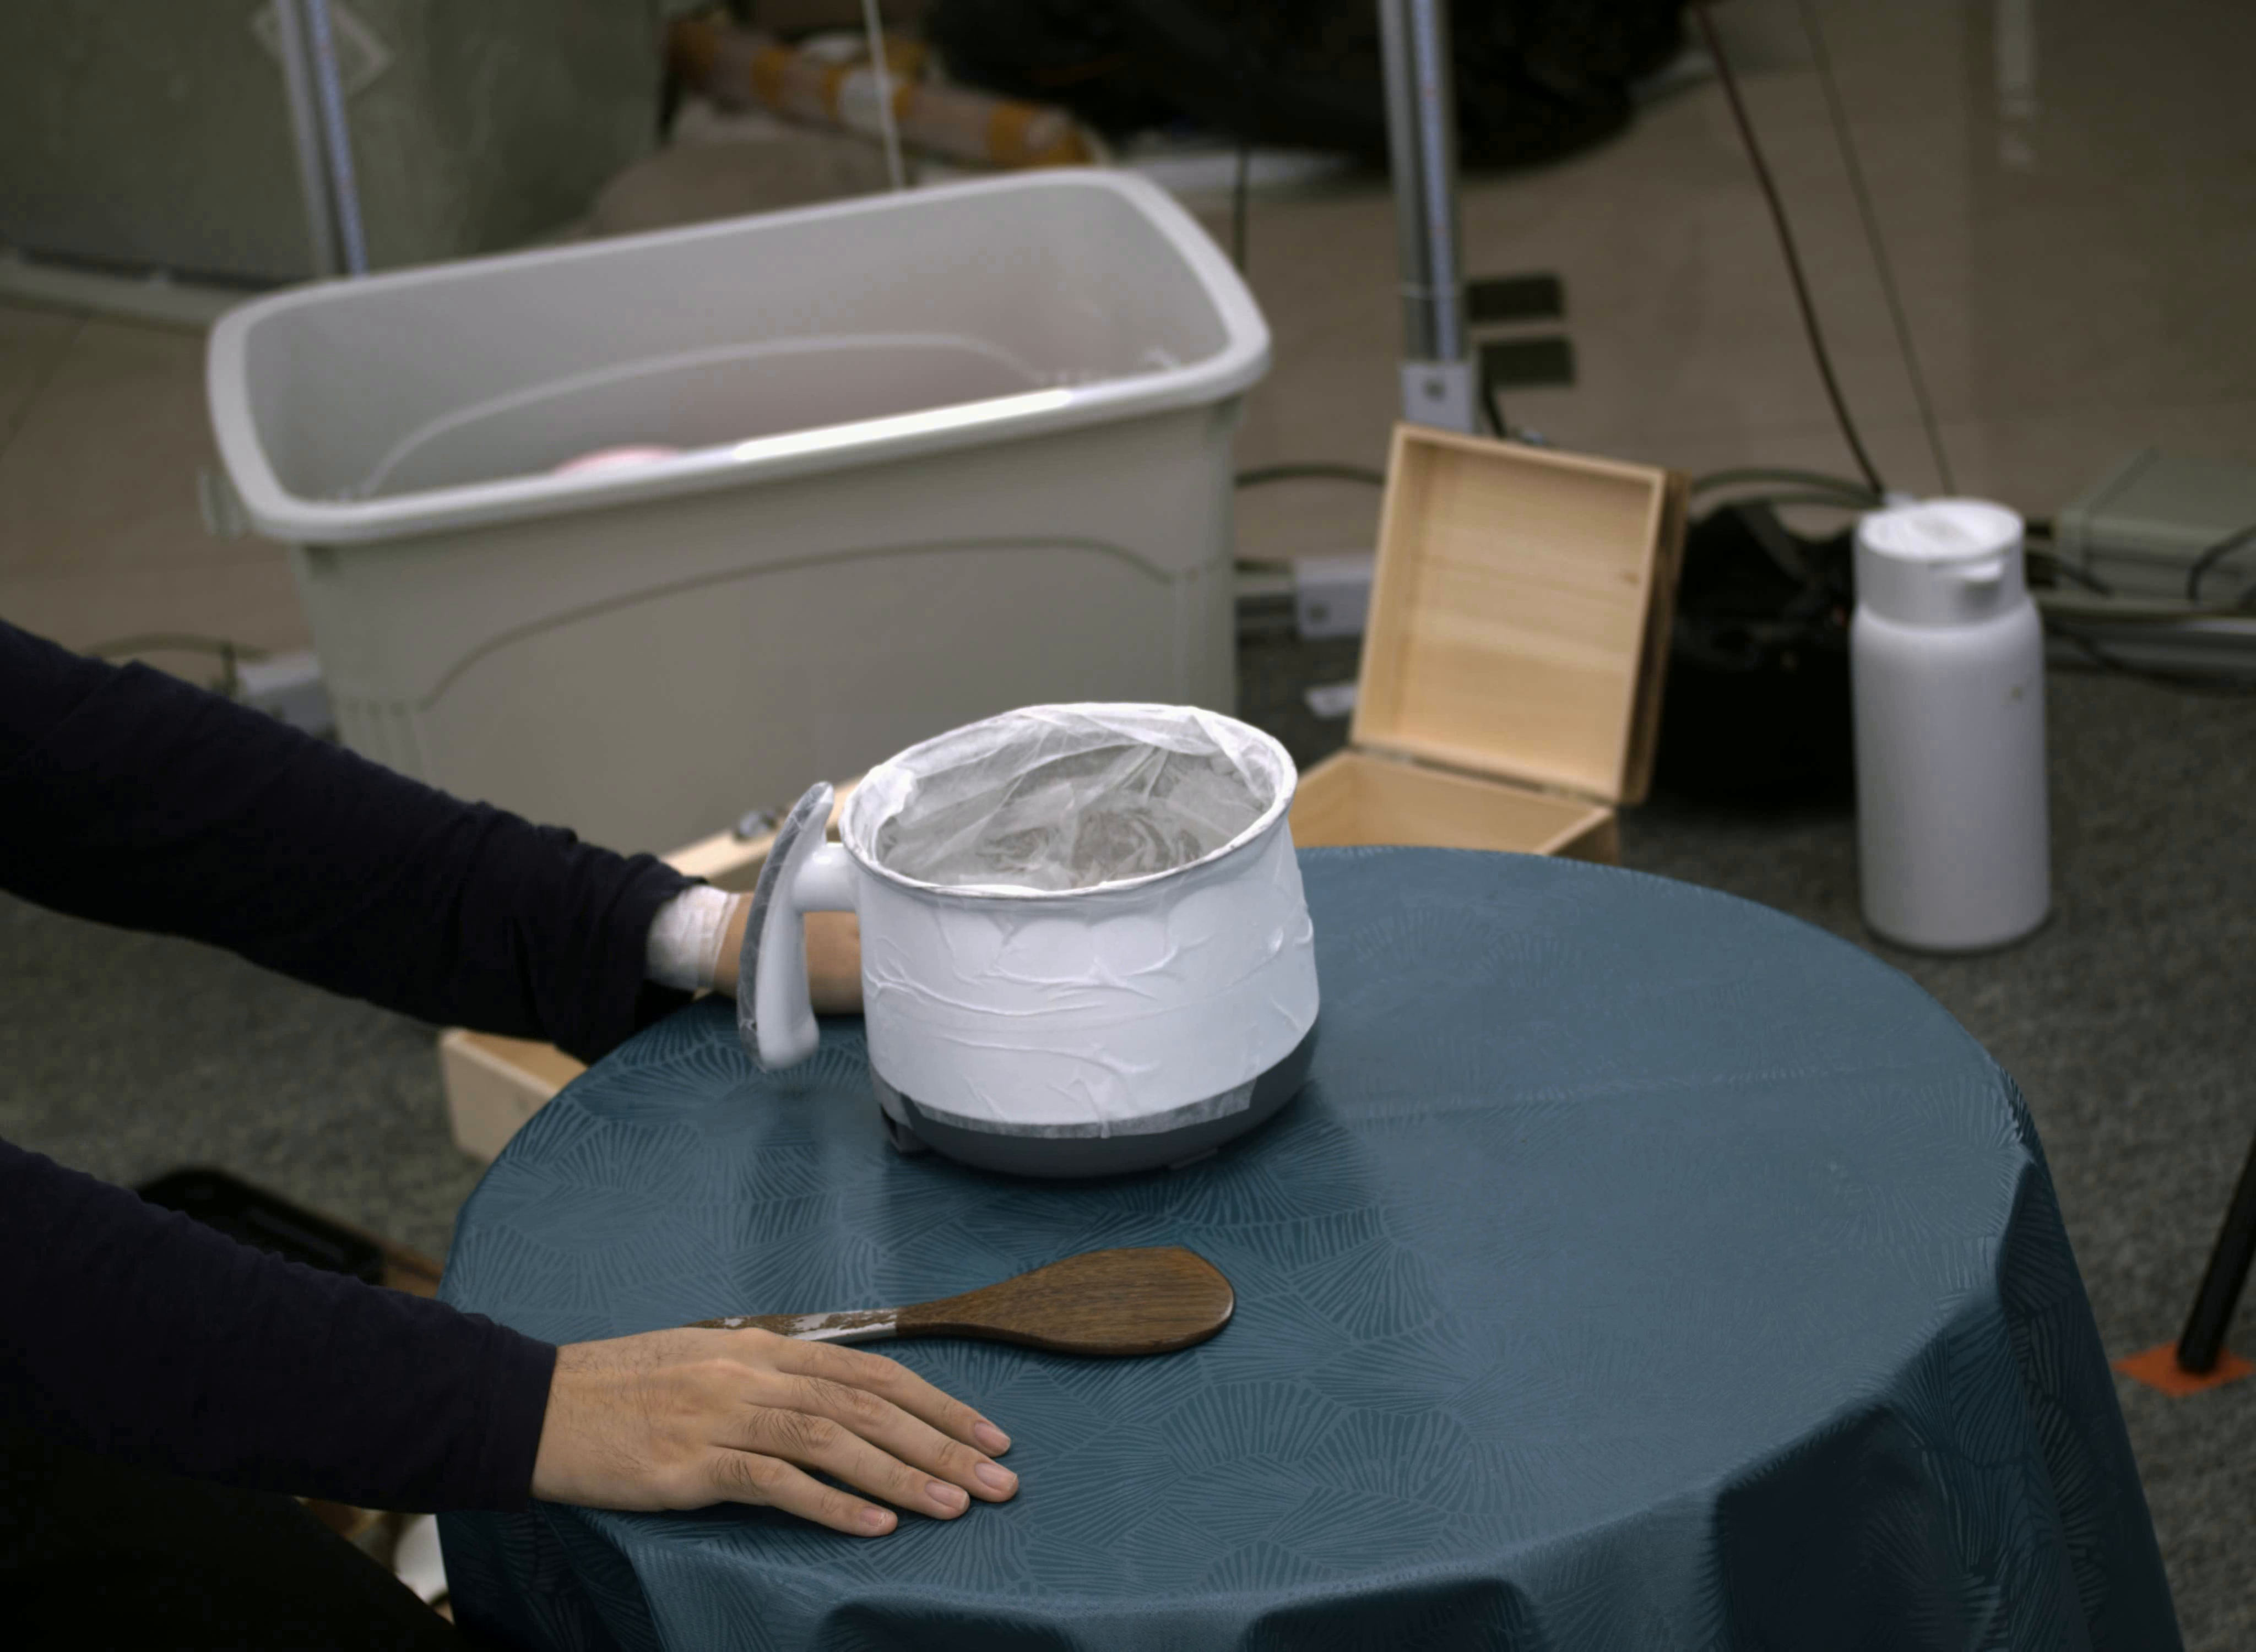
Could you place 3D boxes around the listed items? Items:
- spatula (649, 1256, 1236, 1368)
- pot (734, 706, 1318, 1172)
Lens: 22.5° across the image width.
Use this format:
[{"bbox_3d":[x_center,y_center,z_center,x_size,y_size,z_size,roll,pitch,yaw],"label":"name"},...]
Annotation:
[{"bbox_3d":[-0.068,0.182,2.070,0.215,0.009,0.071,-6,23,4],"label":"spatula"},{"bbox_3d":[-0.043,0.045,2.197,0.233,0.138,0.176,1,23,13],"label":"pot"}]
